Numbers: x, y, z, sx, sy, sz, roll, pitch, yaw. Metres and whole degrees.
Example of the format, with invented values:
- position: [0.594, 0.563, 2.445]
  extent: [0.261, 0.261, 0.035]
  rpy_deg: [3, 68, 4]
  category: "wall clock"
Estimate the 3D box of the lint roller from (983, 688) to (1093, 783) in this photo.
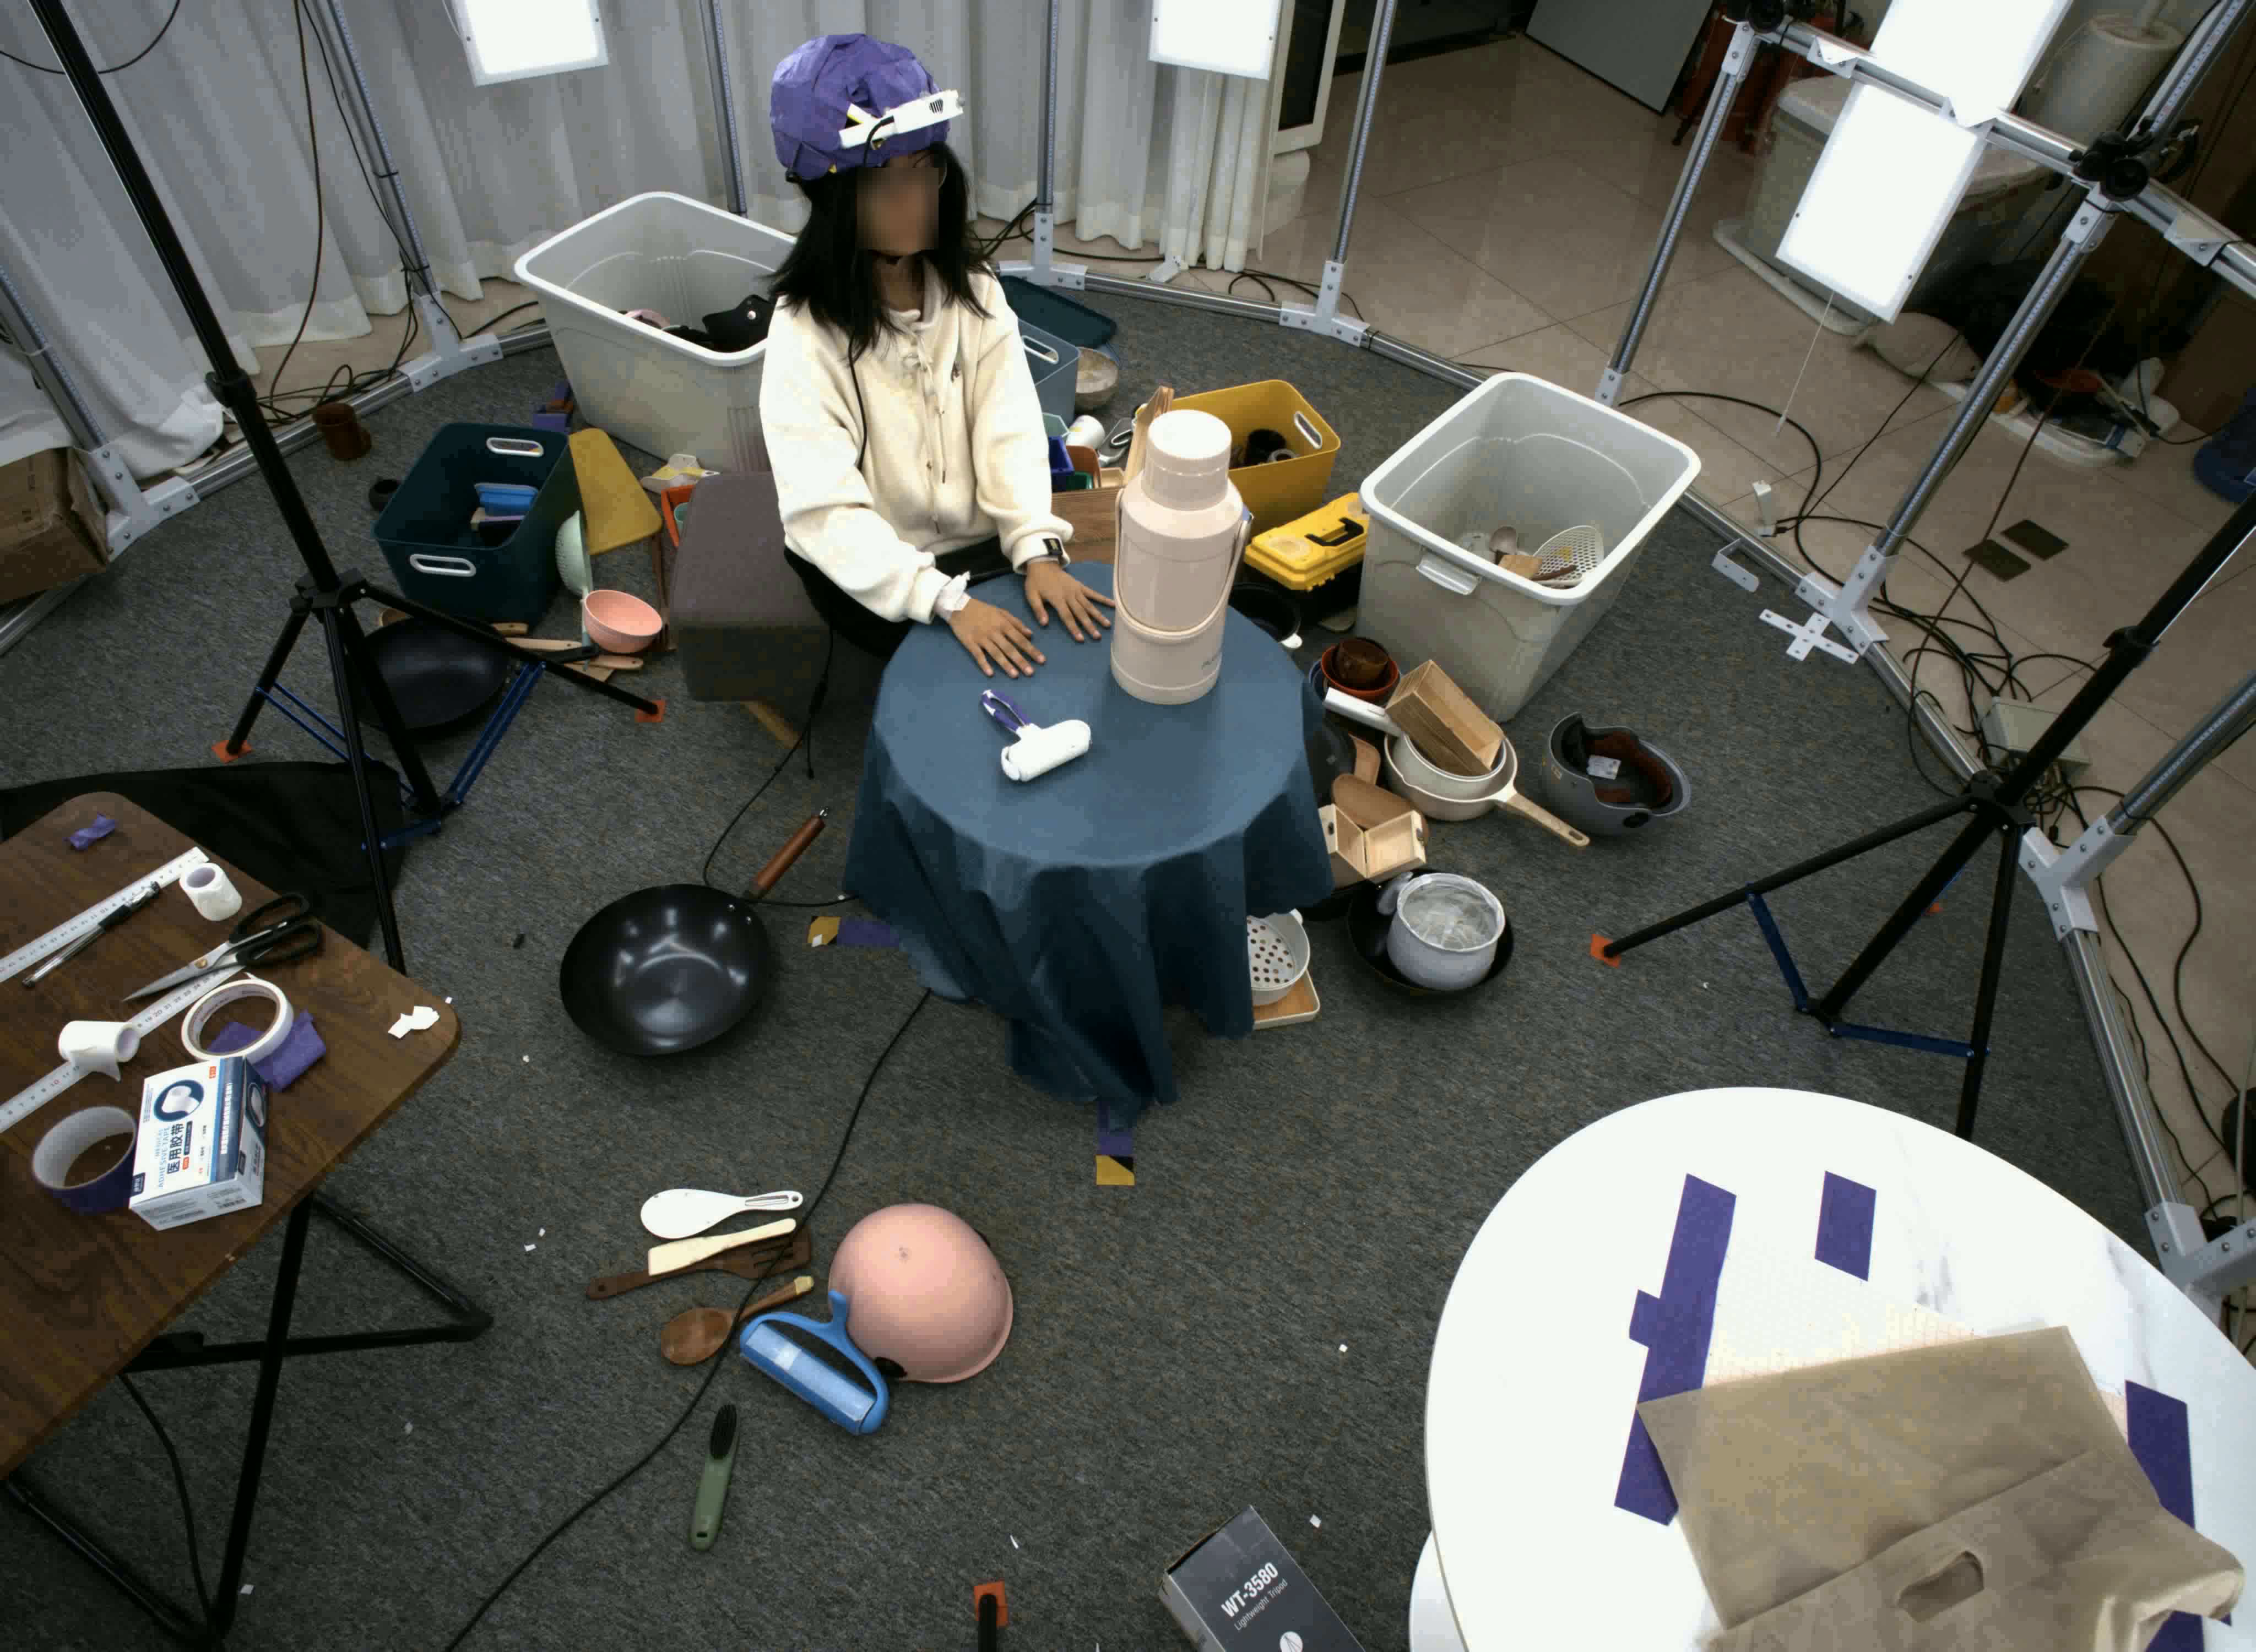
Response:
- position: [-0.143, -0.144, 1.754]
  extent: [0.133, 0.049, 0.184]
  rpy_deg: [-26, 58, -23]
  category: "lint roller"

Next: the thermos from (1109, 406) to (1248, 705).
- position: [0.070, -0.367, 1.737]
  extent: [0.176, 0.396, 0.211]
  rpy_deg: [17, 50, 10]
  category: "thermos"
